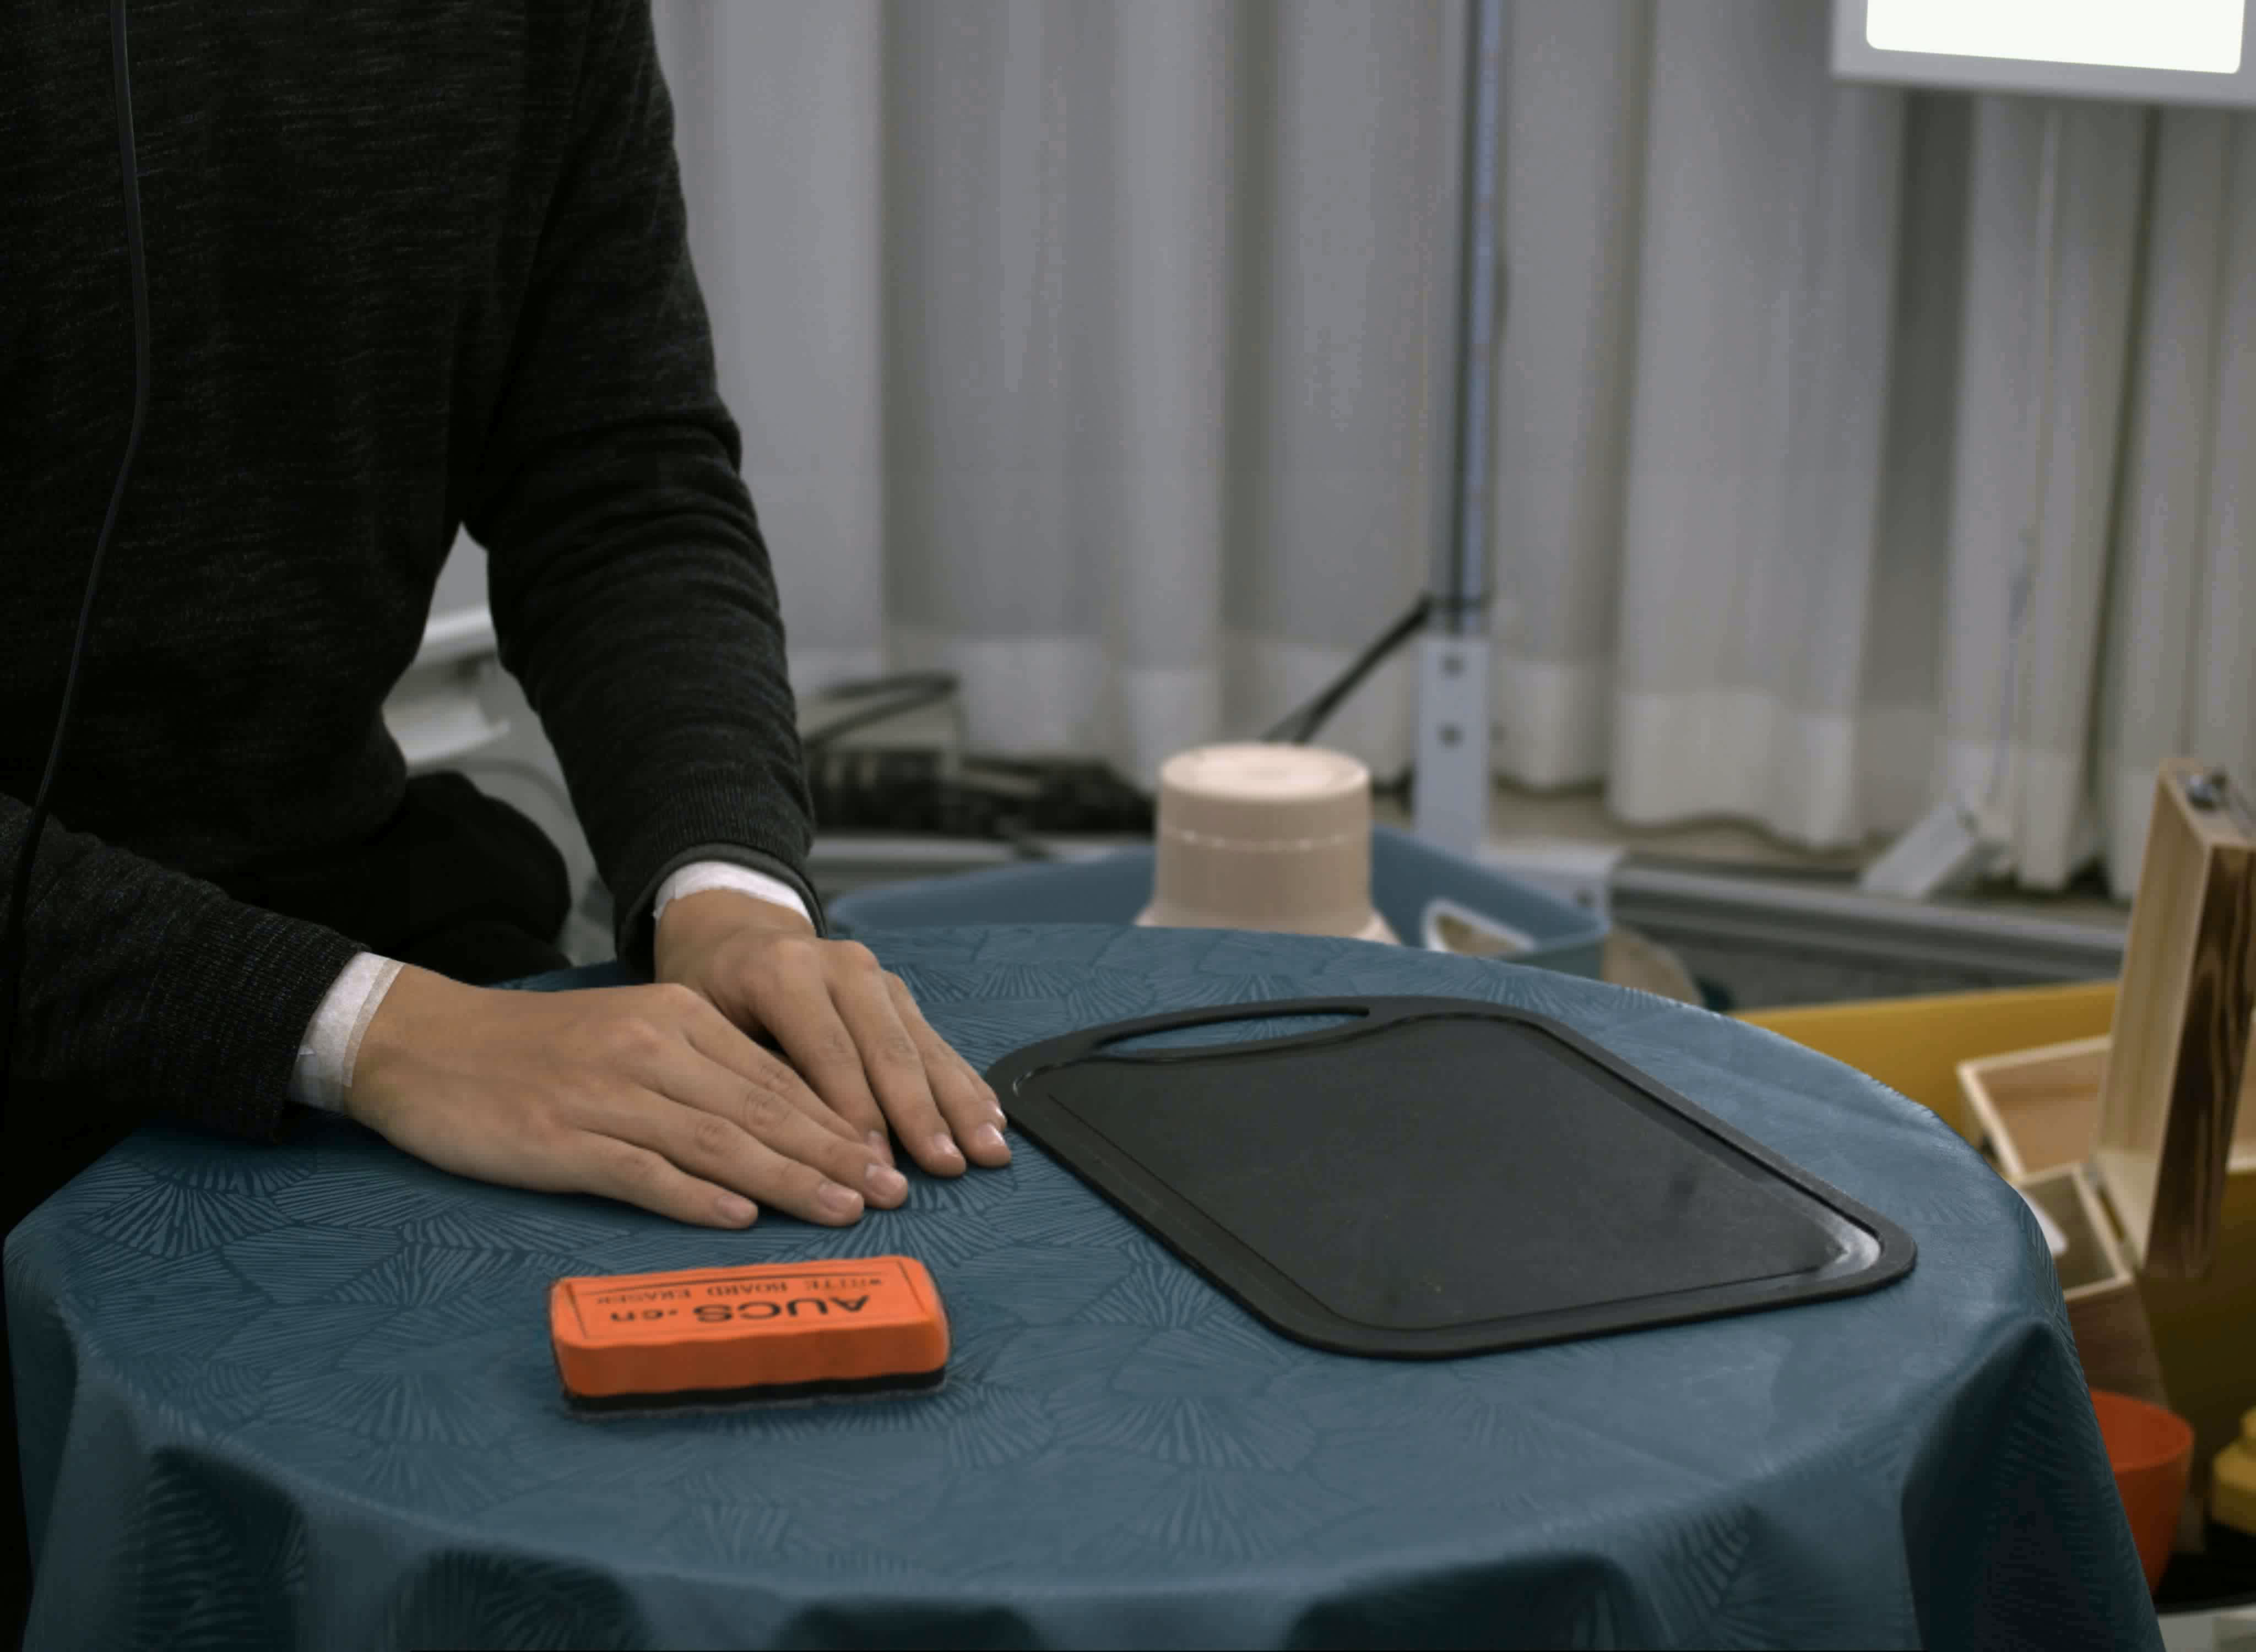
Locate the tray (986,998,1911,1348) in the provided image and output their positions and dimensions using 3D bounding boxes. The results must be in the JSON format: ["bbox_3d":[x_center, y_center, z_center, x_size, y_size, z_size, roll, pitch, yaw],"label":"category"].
[{"bbox_3d":[0.089,0.101,1.651,0.212,0.010,0.321,-6,16,-22],"label":"tray"}]

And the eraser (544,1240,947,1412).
[{"bbox_3d":[-0.107,0.138,1.465,0.108,0.023,0.058,-5,15,-11],"label":"eraser"}]
